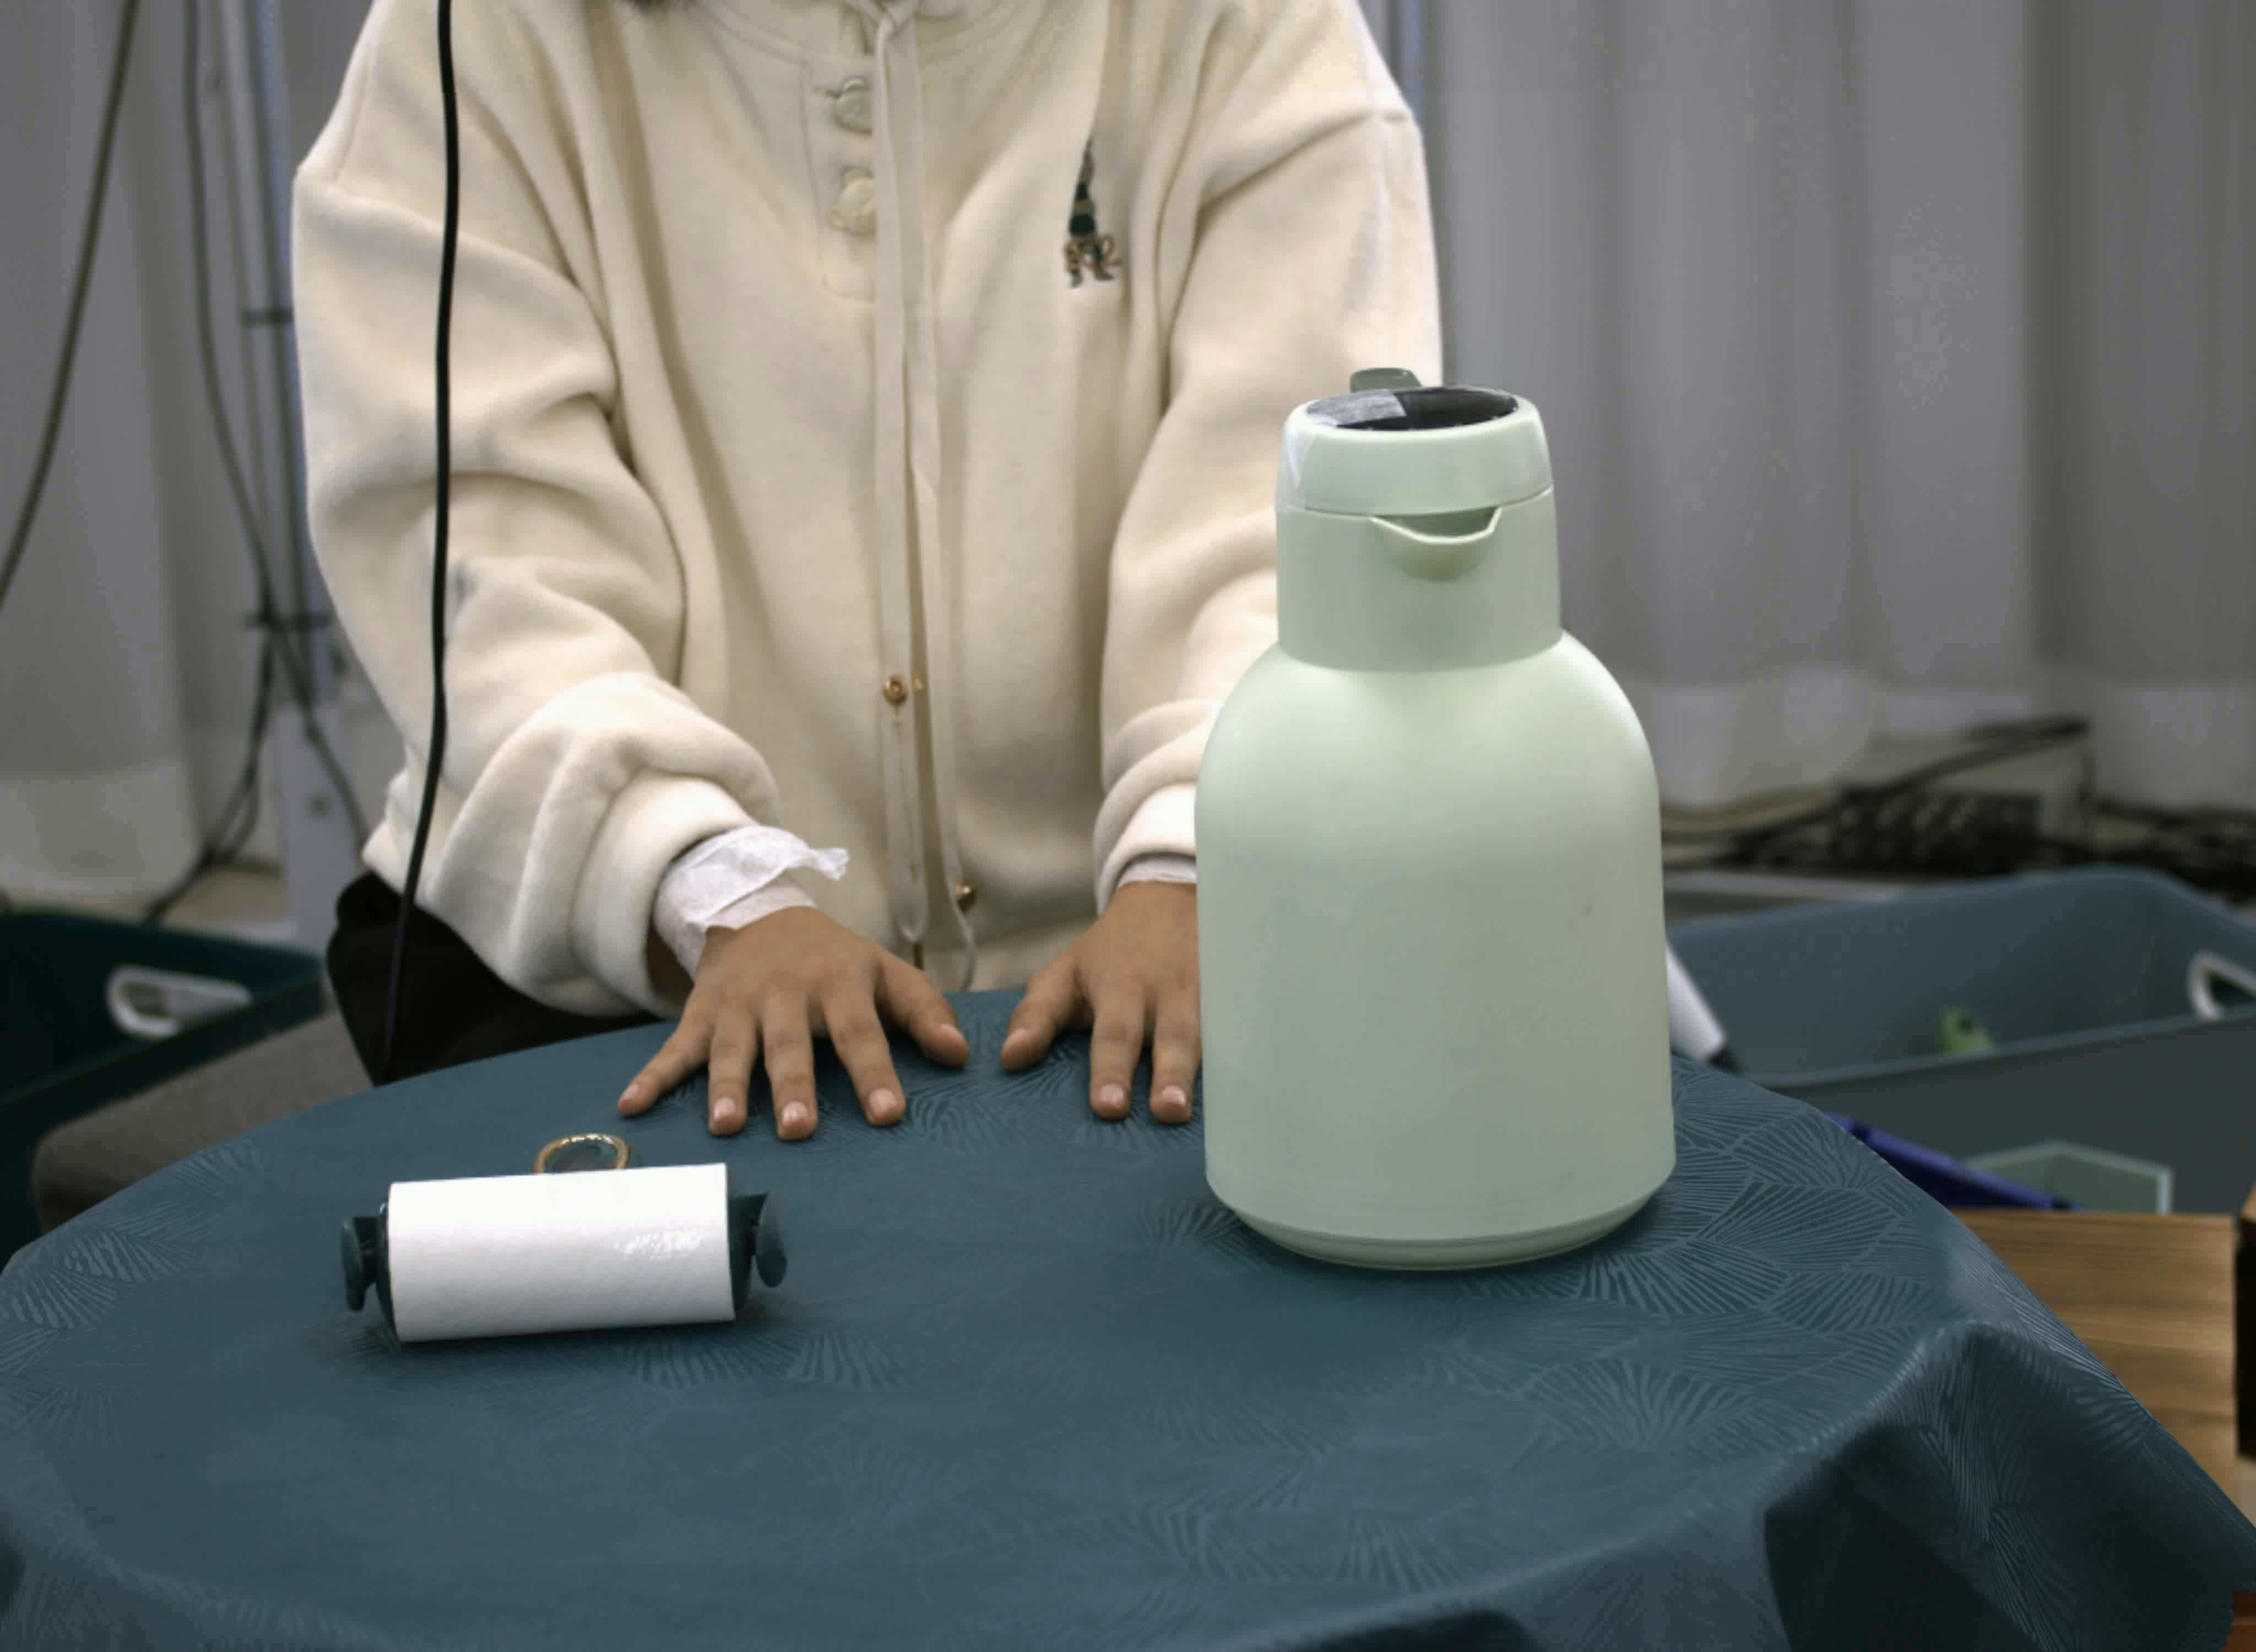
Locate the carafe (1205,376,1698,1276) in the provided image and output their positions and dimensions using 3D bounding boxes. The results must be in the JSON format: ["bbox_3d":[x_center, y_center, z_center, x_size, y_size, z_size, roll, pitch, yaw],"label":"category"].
[{"bbox_3d":[0.092,-0.006,1.669,0.144,0.256,0.188,-6,10,-5],"label":"carafe"}]

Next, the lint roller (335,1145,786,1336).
[{"bbox_3d":[-0.170,0.108,1.678,0.134,0.048,0.181,-3,15,-2],"label":"lint roller"}]
